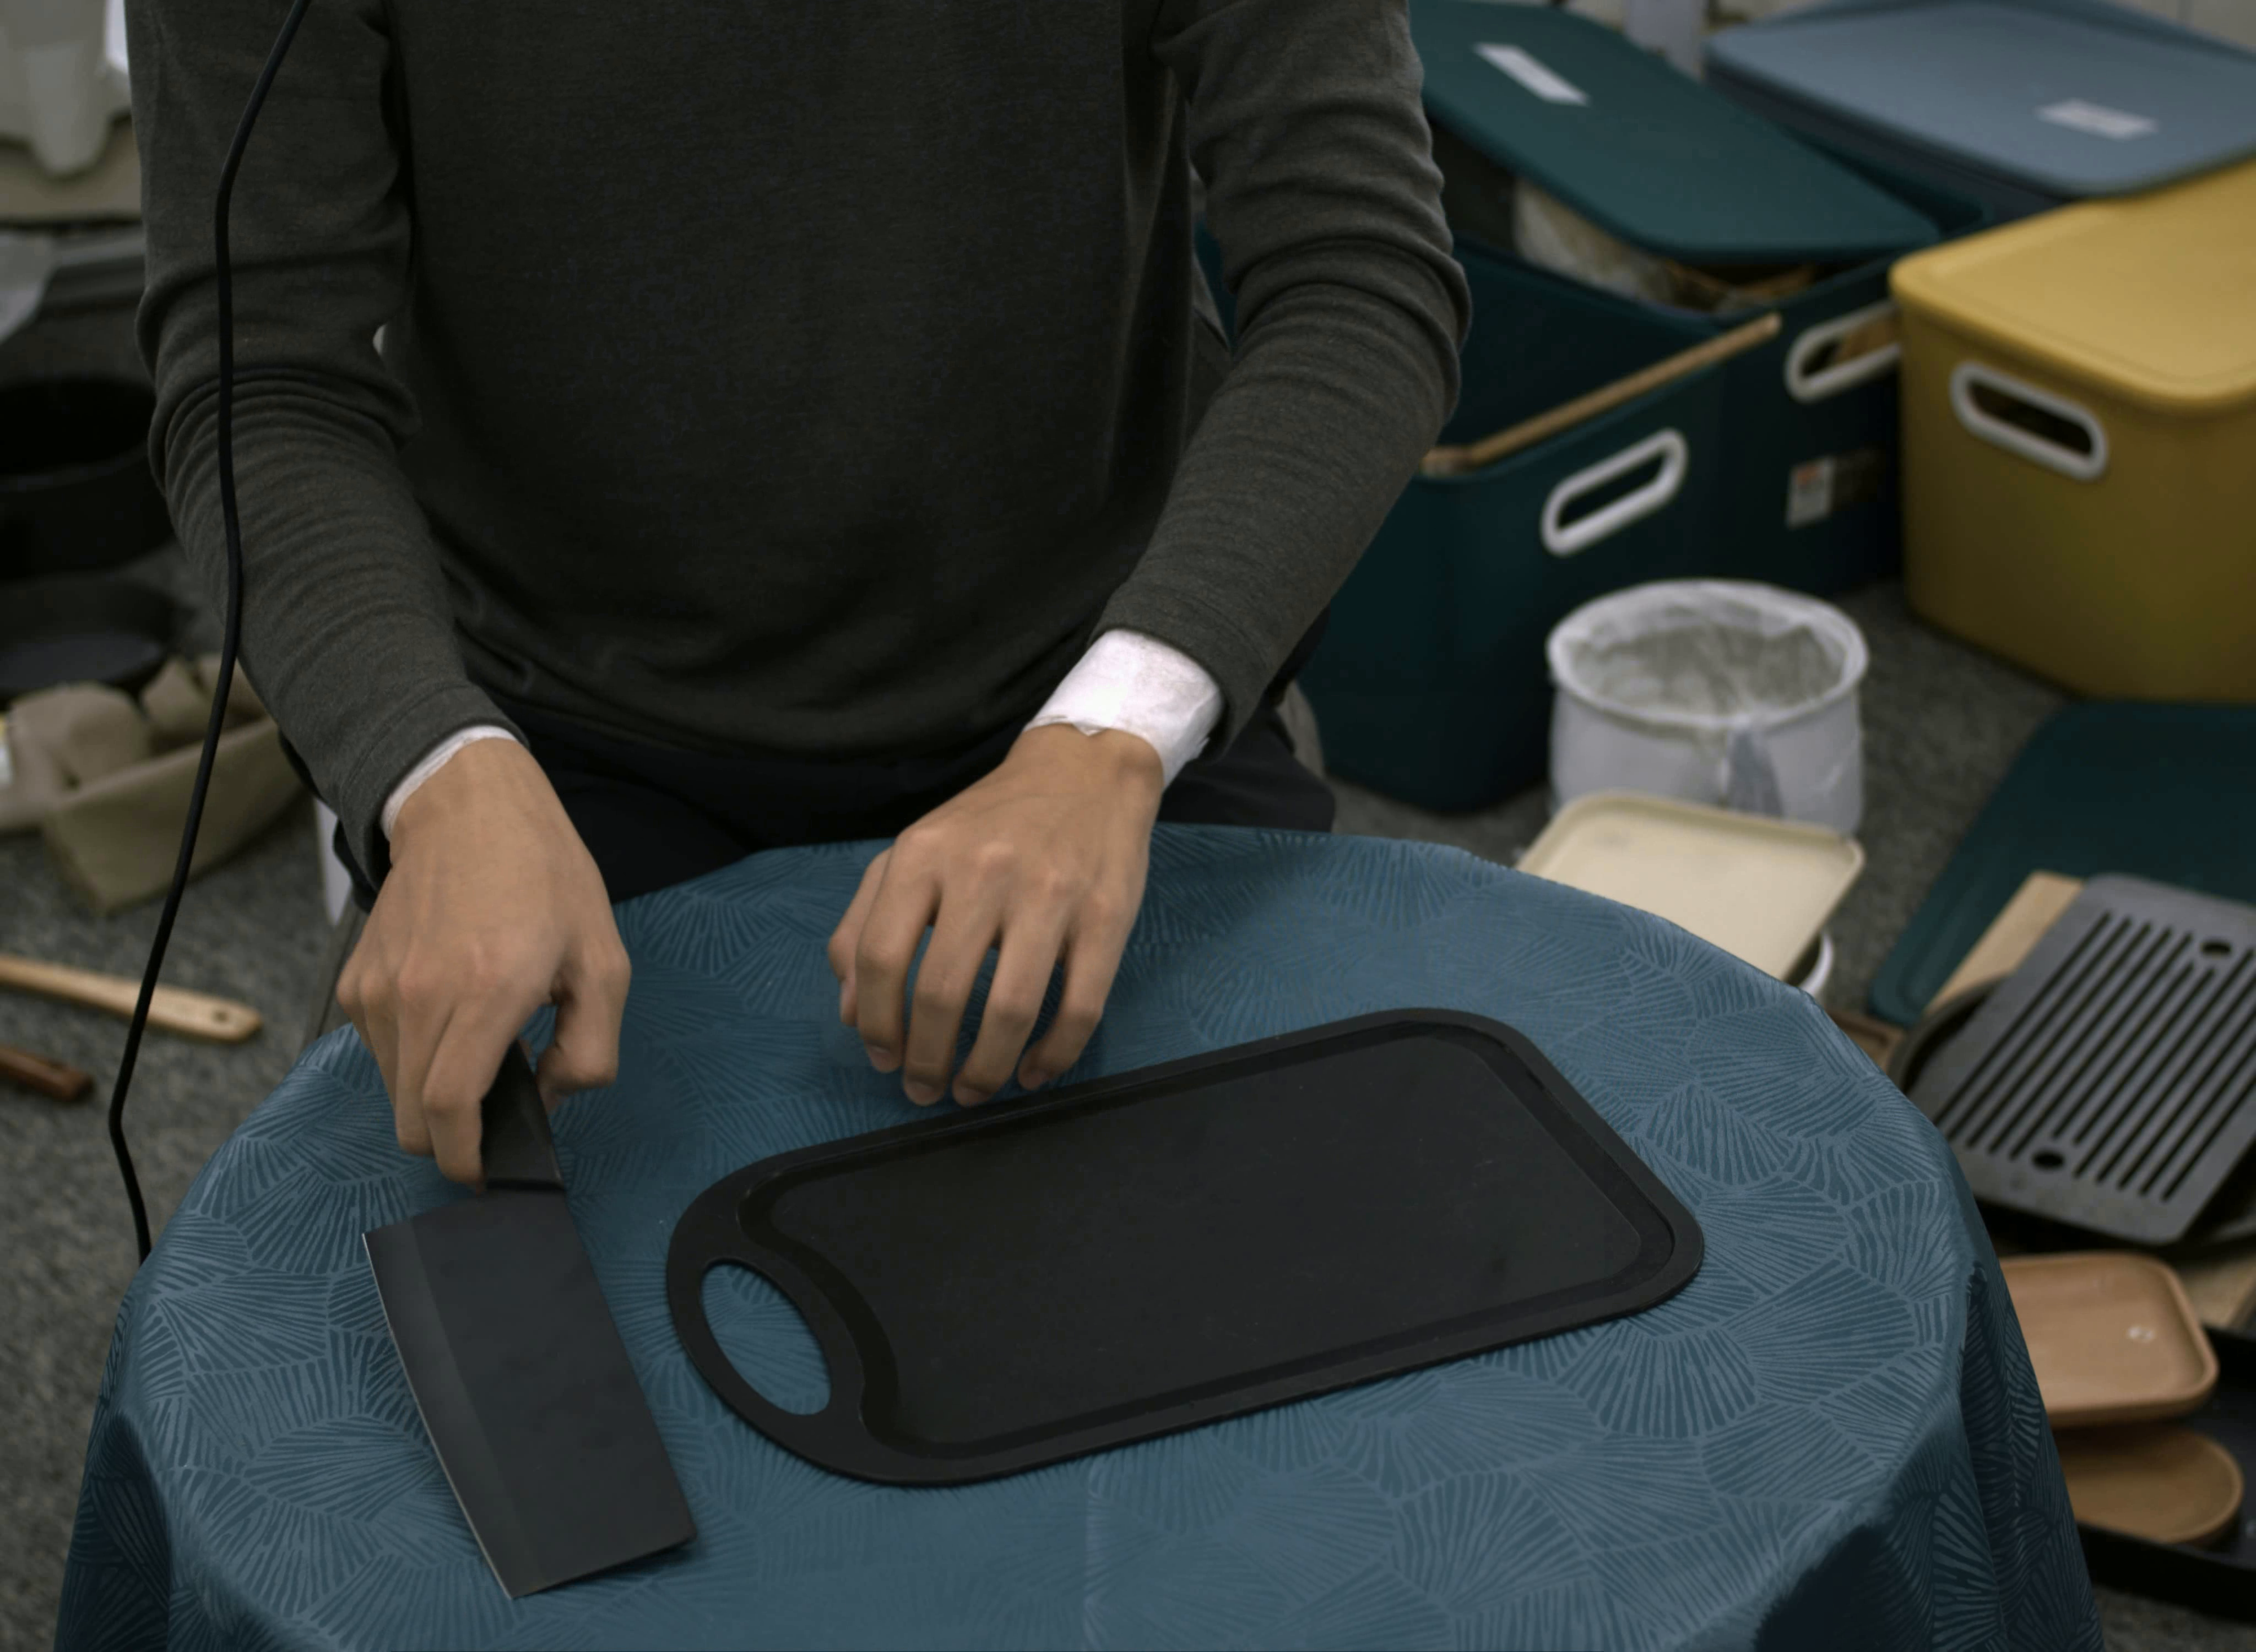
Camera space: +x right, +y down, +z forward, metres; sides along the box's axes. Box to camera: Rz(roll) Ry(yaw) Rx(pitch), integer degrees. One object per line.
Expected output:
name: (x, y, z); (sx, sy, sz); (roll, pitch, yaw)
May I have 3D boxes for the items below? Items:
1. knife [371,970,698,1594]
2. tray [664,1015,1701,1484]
knife: (-0.202, 0.140, 1.791); (0.081, 0.020, 0.306); (-12, 37, -9)
tray: (0.011, 0.134, 1.829); (0.326, 0.009, 0.213); (-12, 28, -17)
